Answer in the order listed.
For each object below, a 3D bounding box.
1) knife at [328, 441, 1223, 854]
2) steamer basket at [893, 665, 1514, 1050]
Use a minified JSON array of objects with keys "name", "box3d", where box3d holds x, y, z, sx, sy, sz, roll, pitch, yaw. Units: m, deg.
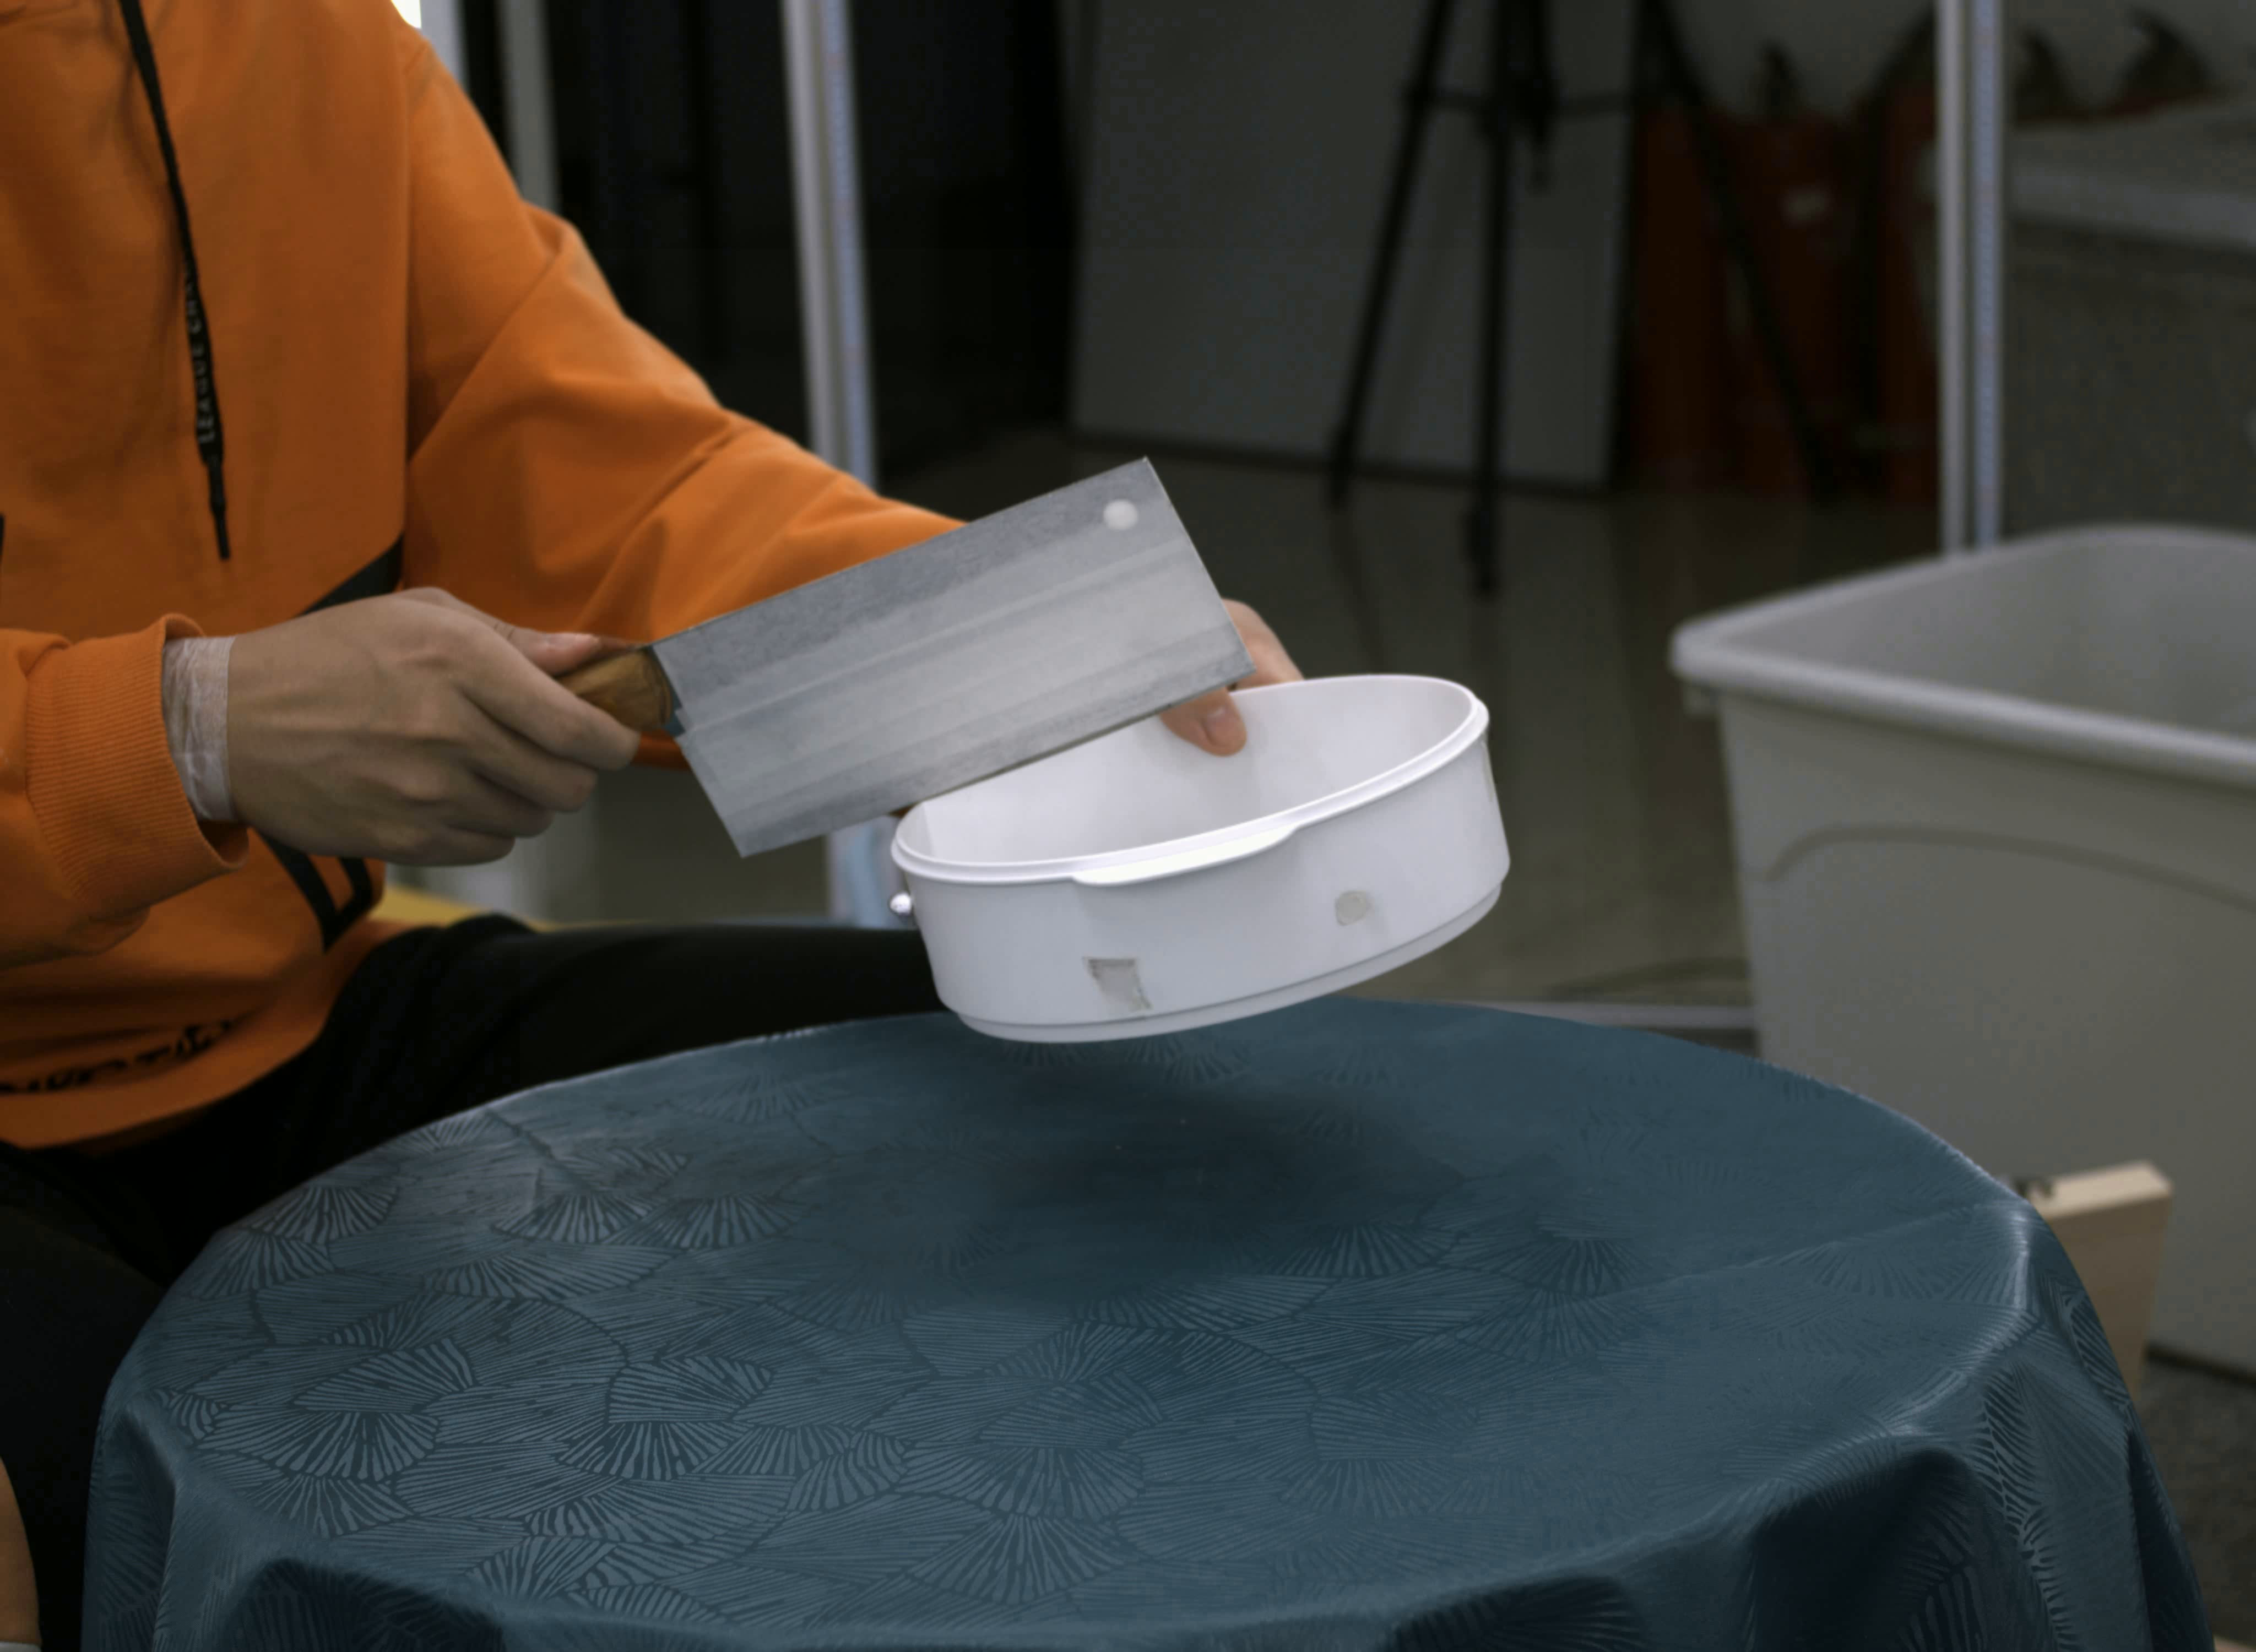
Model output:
[{"name":"knife","box3d":[-0.114,-0.038,1.772,0.305,0.092,0.021,-21,29,16]},{"name":"steamer basket","box3d":[0.027,0.011,1.748,0.200,0.070,0.231,-12,16,4]}]
